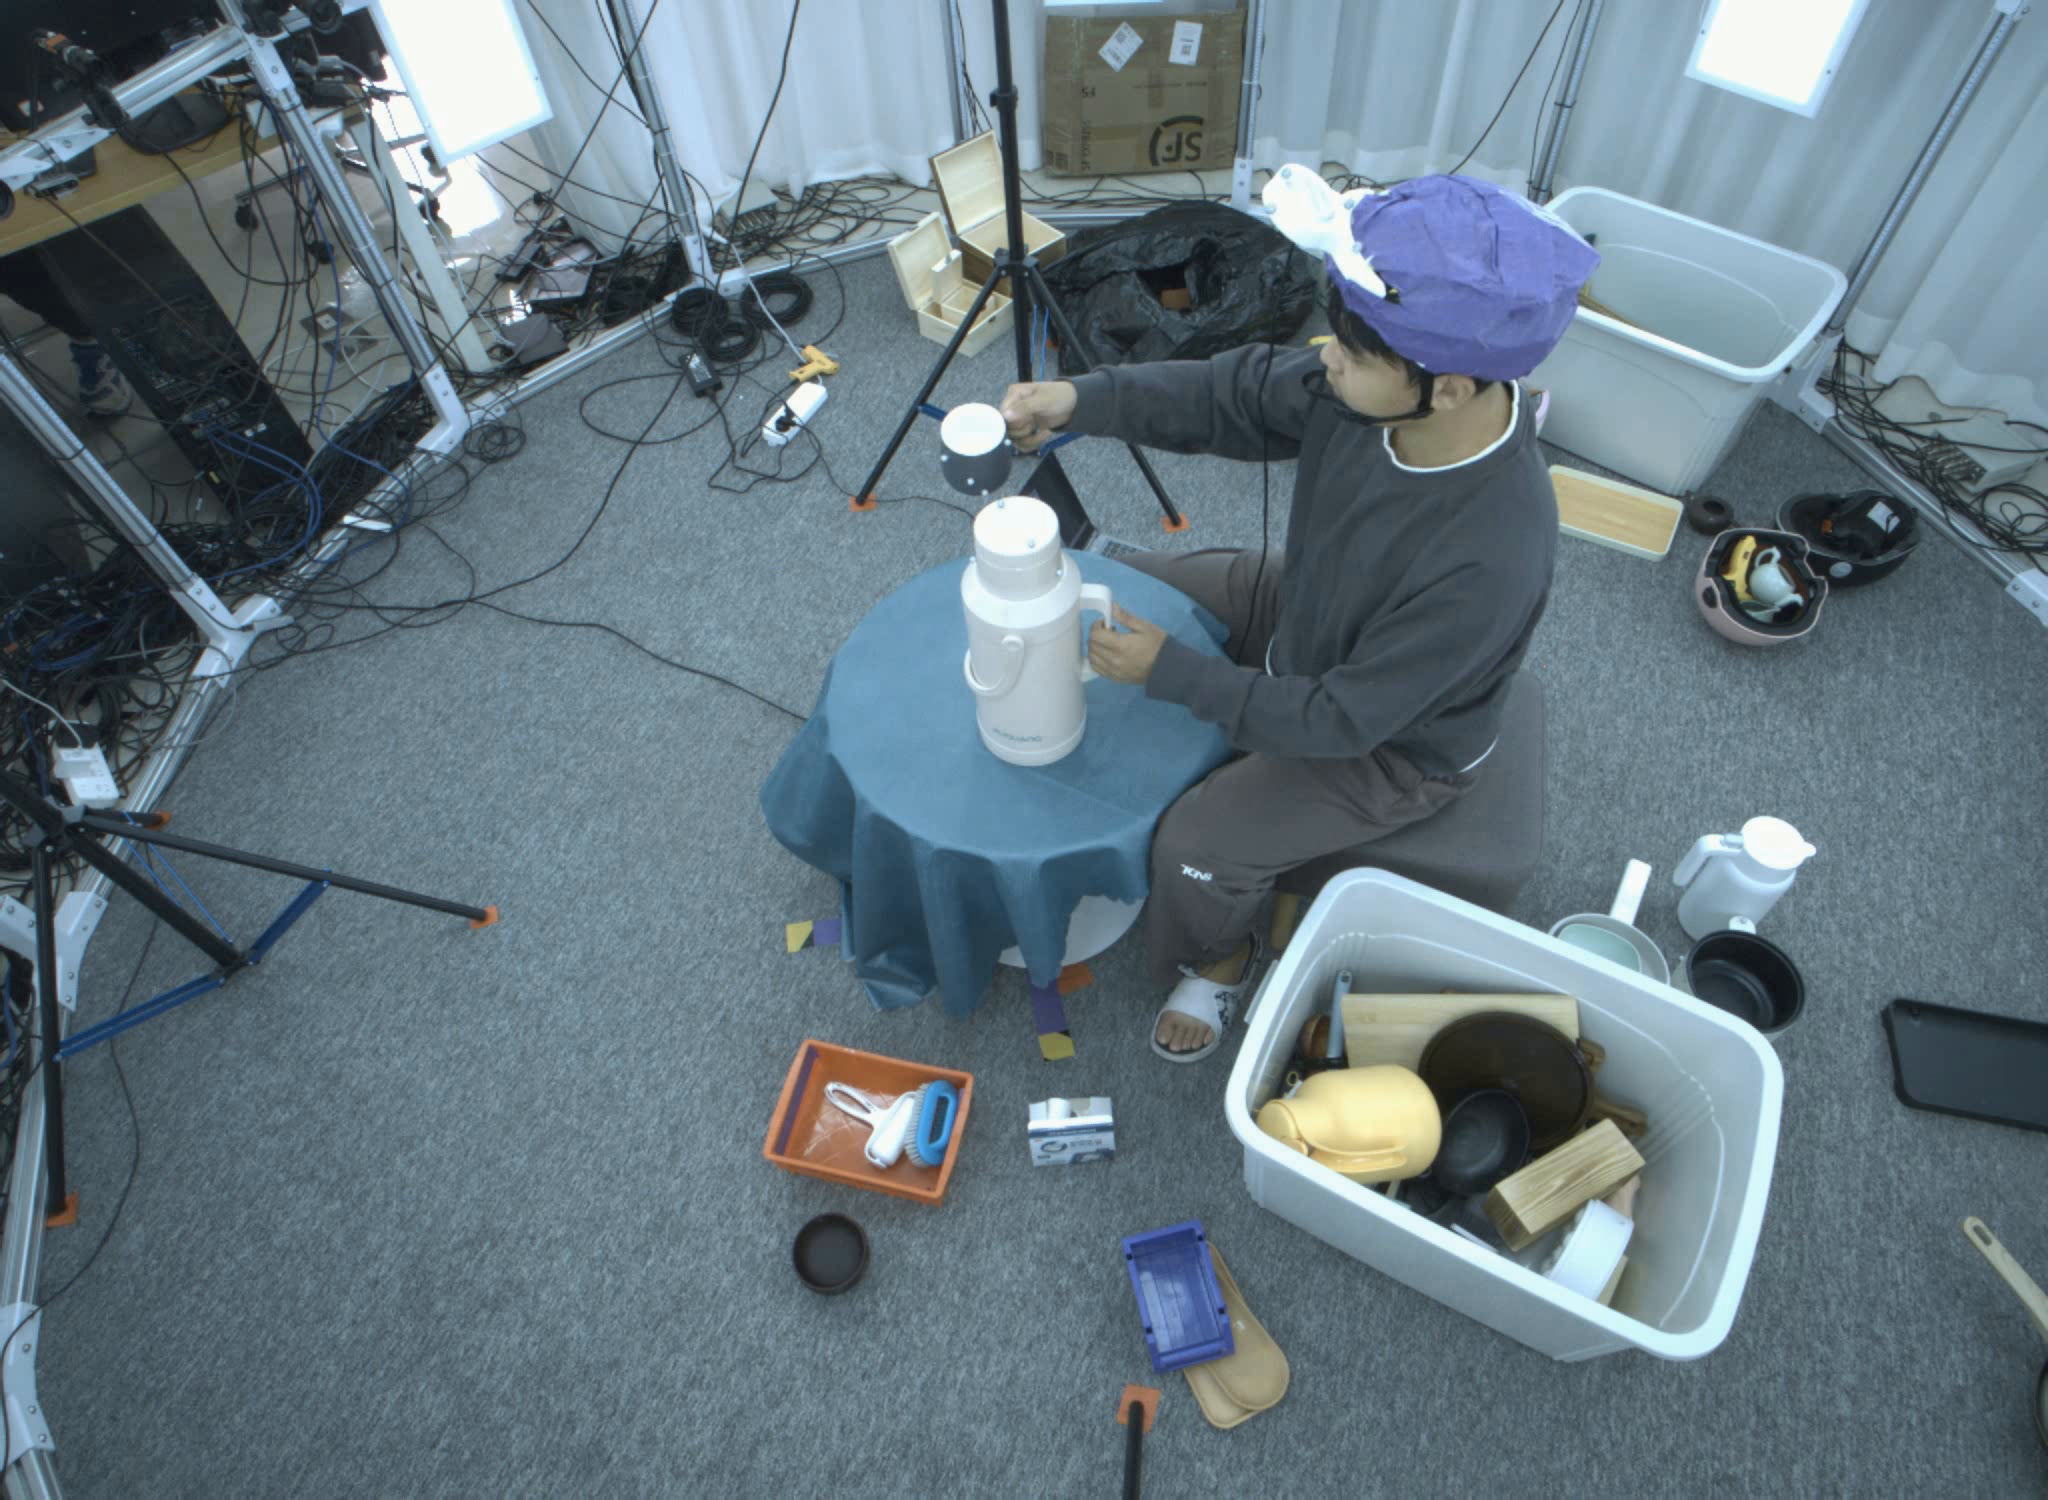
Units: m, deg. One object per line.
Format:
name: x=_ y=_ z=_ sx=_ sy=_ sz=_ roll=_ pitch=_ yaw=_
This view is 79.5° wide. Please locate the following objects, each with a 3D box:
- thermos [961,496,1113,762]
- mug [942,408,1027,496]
thermos: x=0.015 y=-0.157 z=1.654 sx=0.206 sy=0.411 sz=0.174 roll=3 pitch=55 yaw=6
mug: x=-0.050 y=-0.392 z=1.559 sx=0.124 sy=0.090 sz=0.092 roll=-35 pitch=73 yaw=-12
